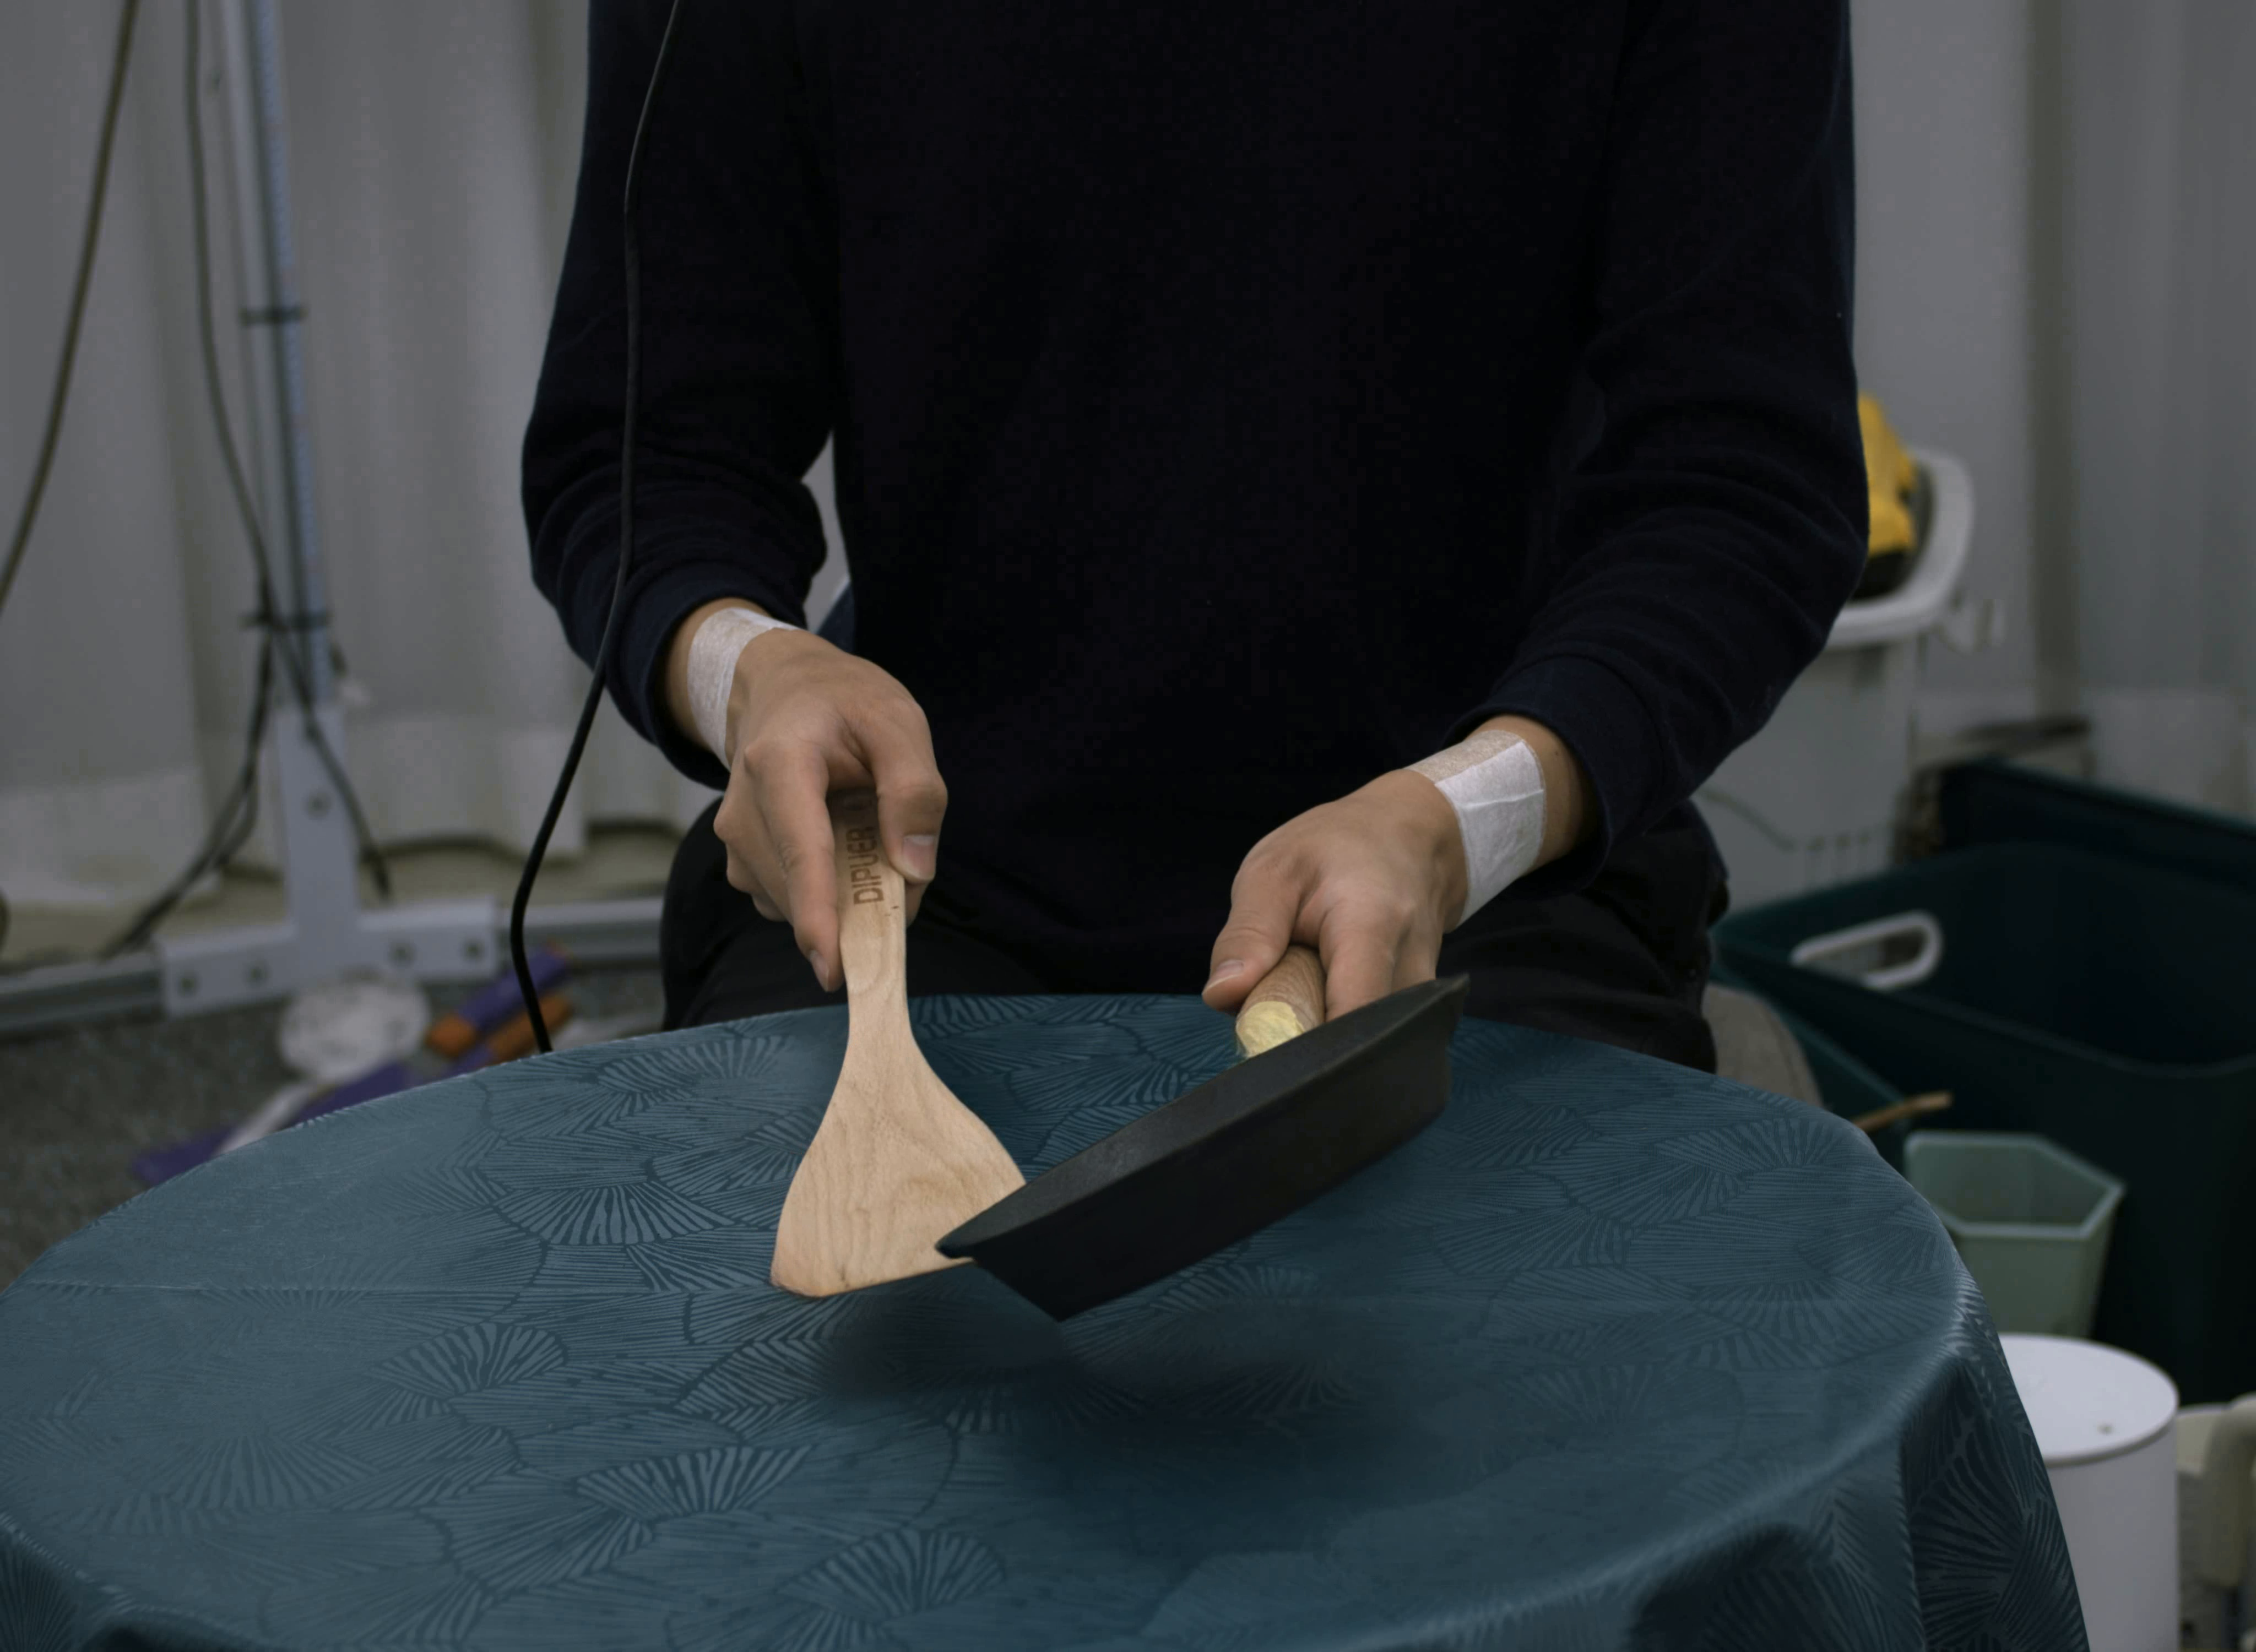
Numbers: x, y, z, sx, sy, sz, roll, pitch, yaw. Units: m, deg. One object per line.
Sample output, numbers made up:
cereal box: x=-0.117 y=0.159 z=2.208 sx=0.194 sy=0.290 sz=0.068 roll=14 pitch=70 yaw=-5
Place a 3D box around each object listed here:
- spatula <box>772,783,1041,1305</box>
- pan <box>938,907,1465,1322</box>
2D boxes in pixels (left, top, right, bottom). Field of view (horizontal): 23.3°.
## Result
spatula: x=-0.076 y=0.060 z=1.685 sx=0.079 sy=0.016 sz=0.332 roll=-9 pitch=28 yaw=-2
pan: x=0.039 y=0.074 z=1.595 sx=0.168 sy=0.049 sz=0.325 roll=-28 pitch=3 yaw=14
